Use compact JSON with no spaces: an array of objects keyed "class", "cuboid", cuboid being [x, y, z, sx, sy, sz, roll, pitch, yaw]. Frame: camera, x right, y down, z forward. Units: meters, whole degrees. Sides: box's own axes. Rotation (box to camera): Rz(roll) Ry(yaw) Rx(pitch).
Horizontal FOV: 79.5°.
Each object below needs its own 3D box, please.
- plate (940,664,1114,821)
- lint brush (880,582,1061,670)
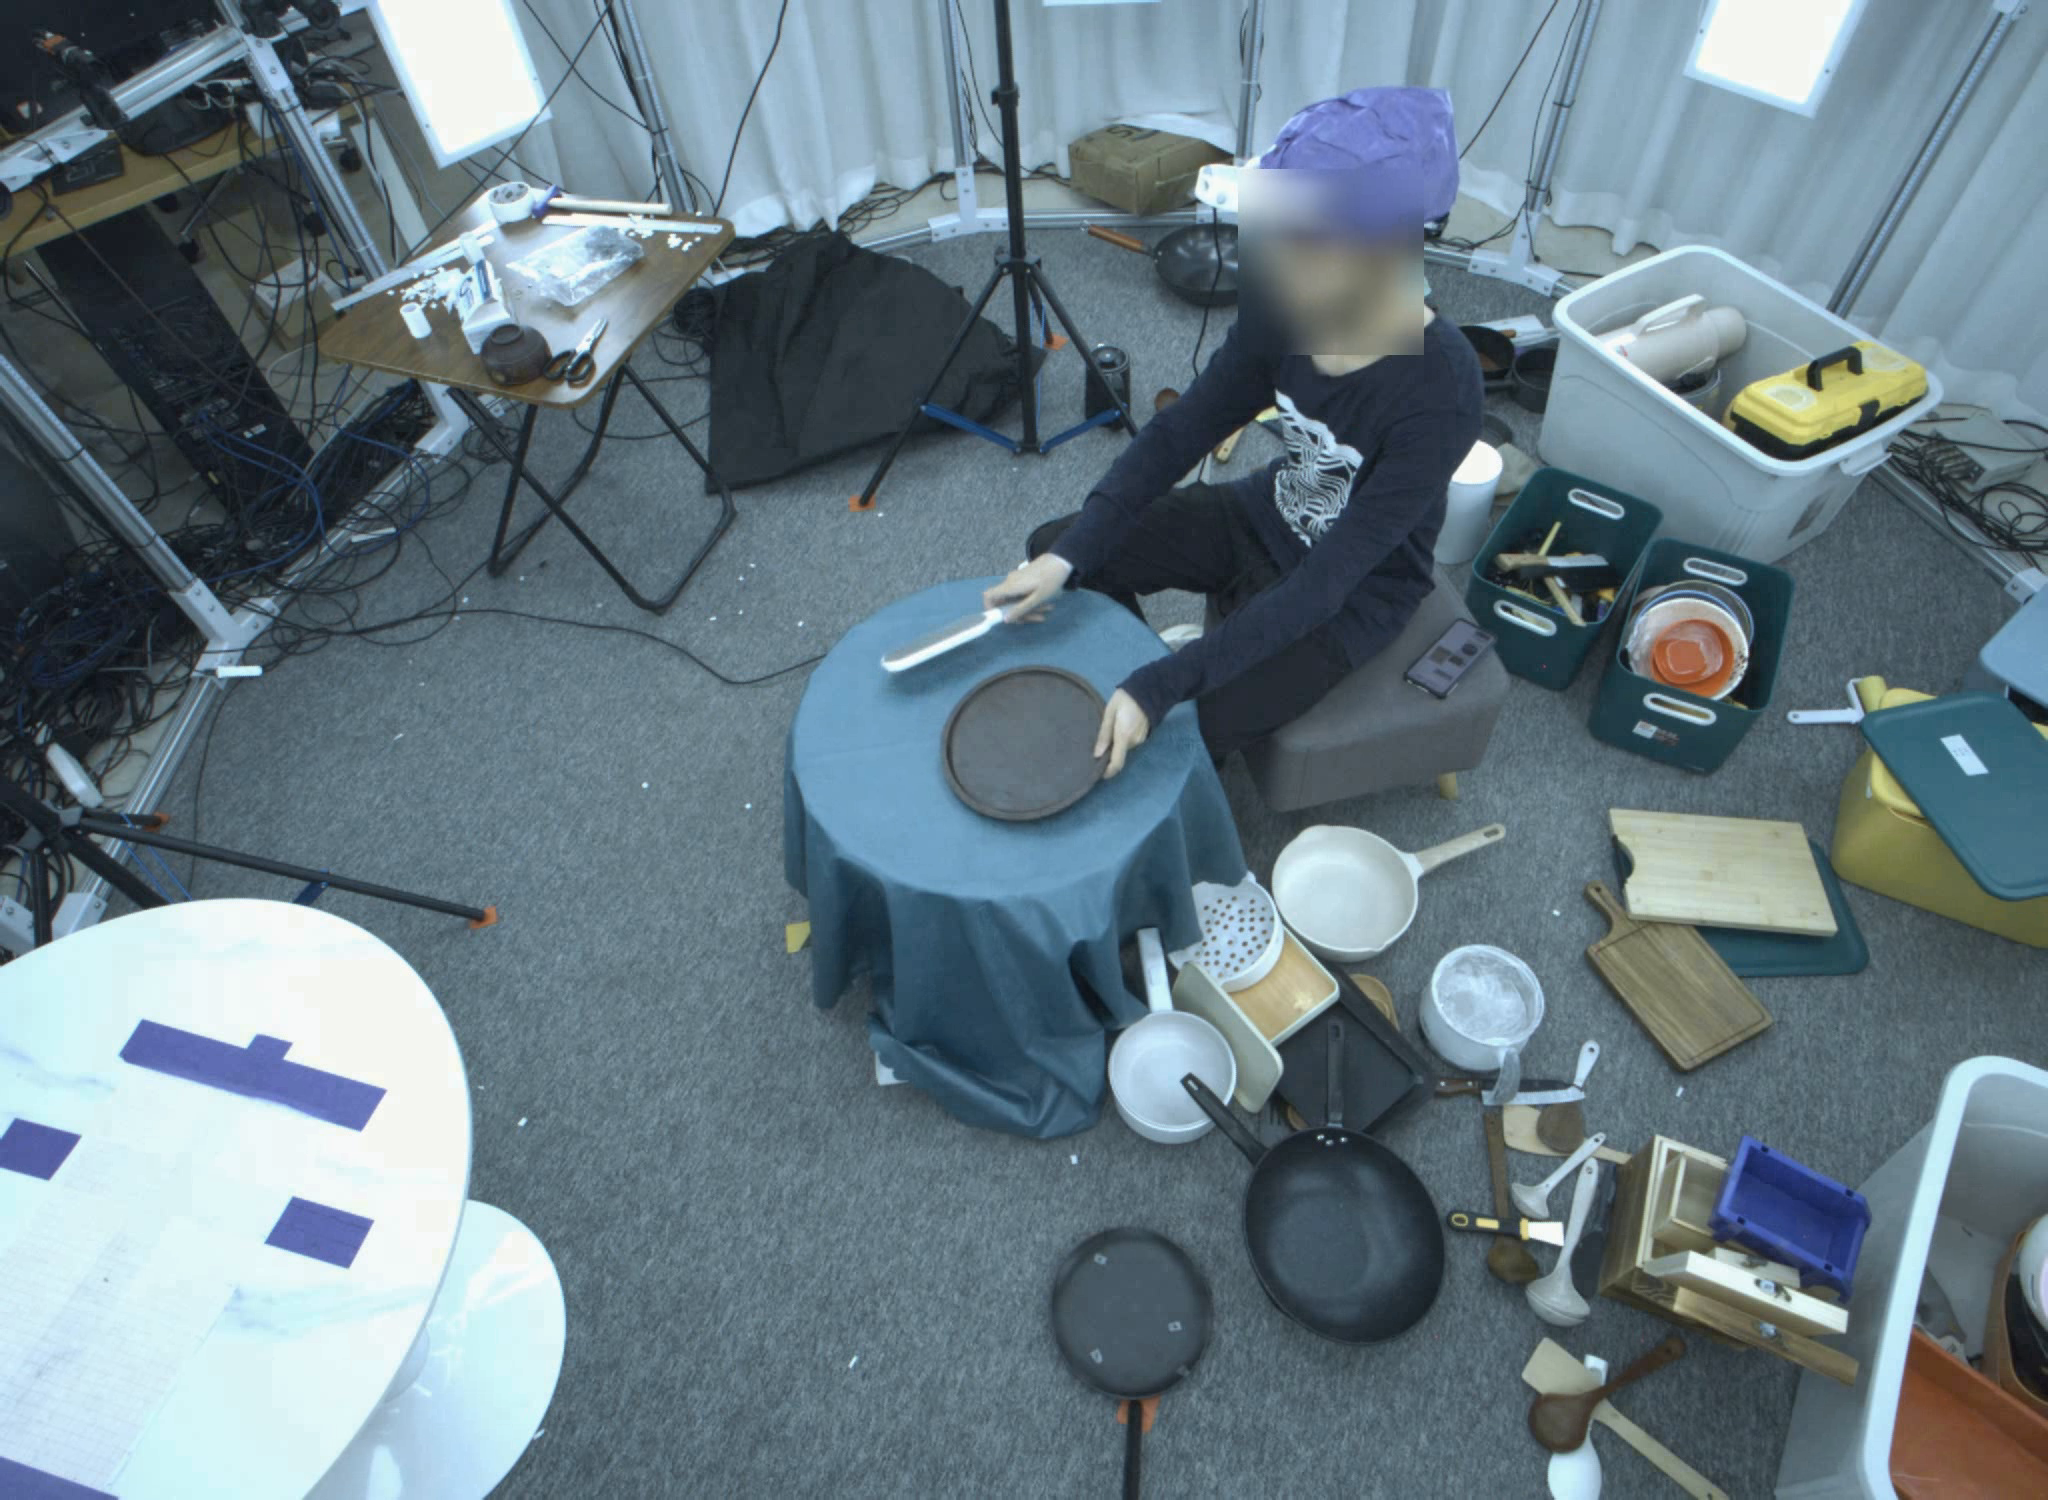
[{"class":"plate","cuboid":[0.004,-0.012,1.762,0.253,0.029,0.252,-3,63,8]},{"class":"lint brush","cuboid":[-0.079,-0.191,1.880,0.311,0.021,0.059,-26,23,-15]}]
